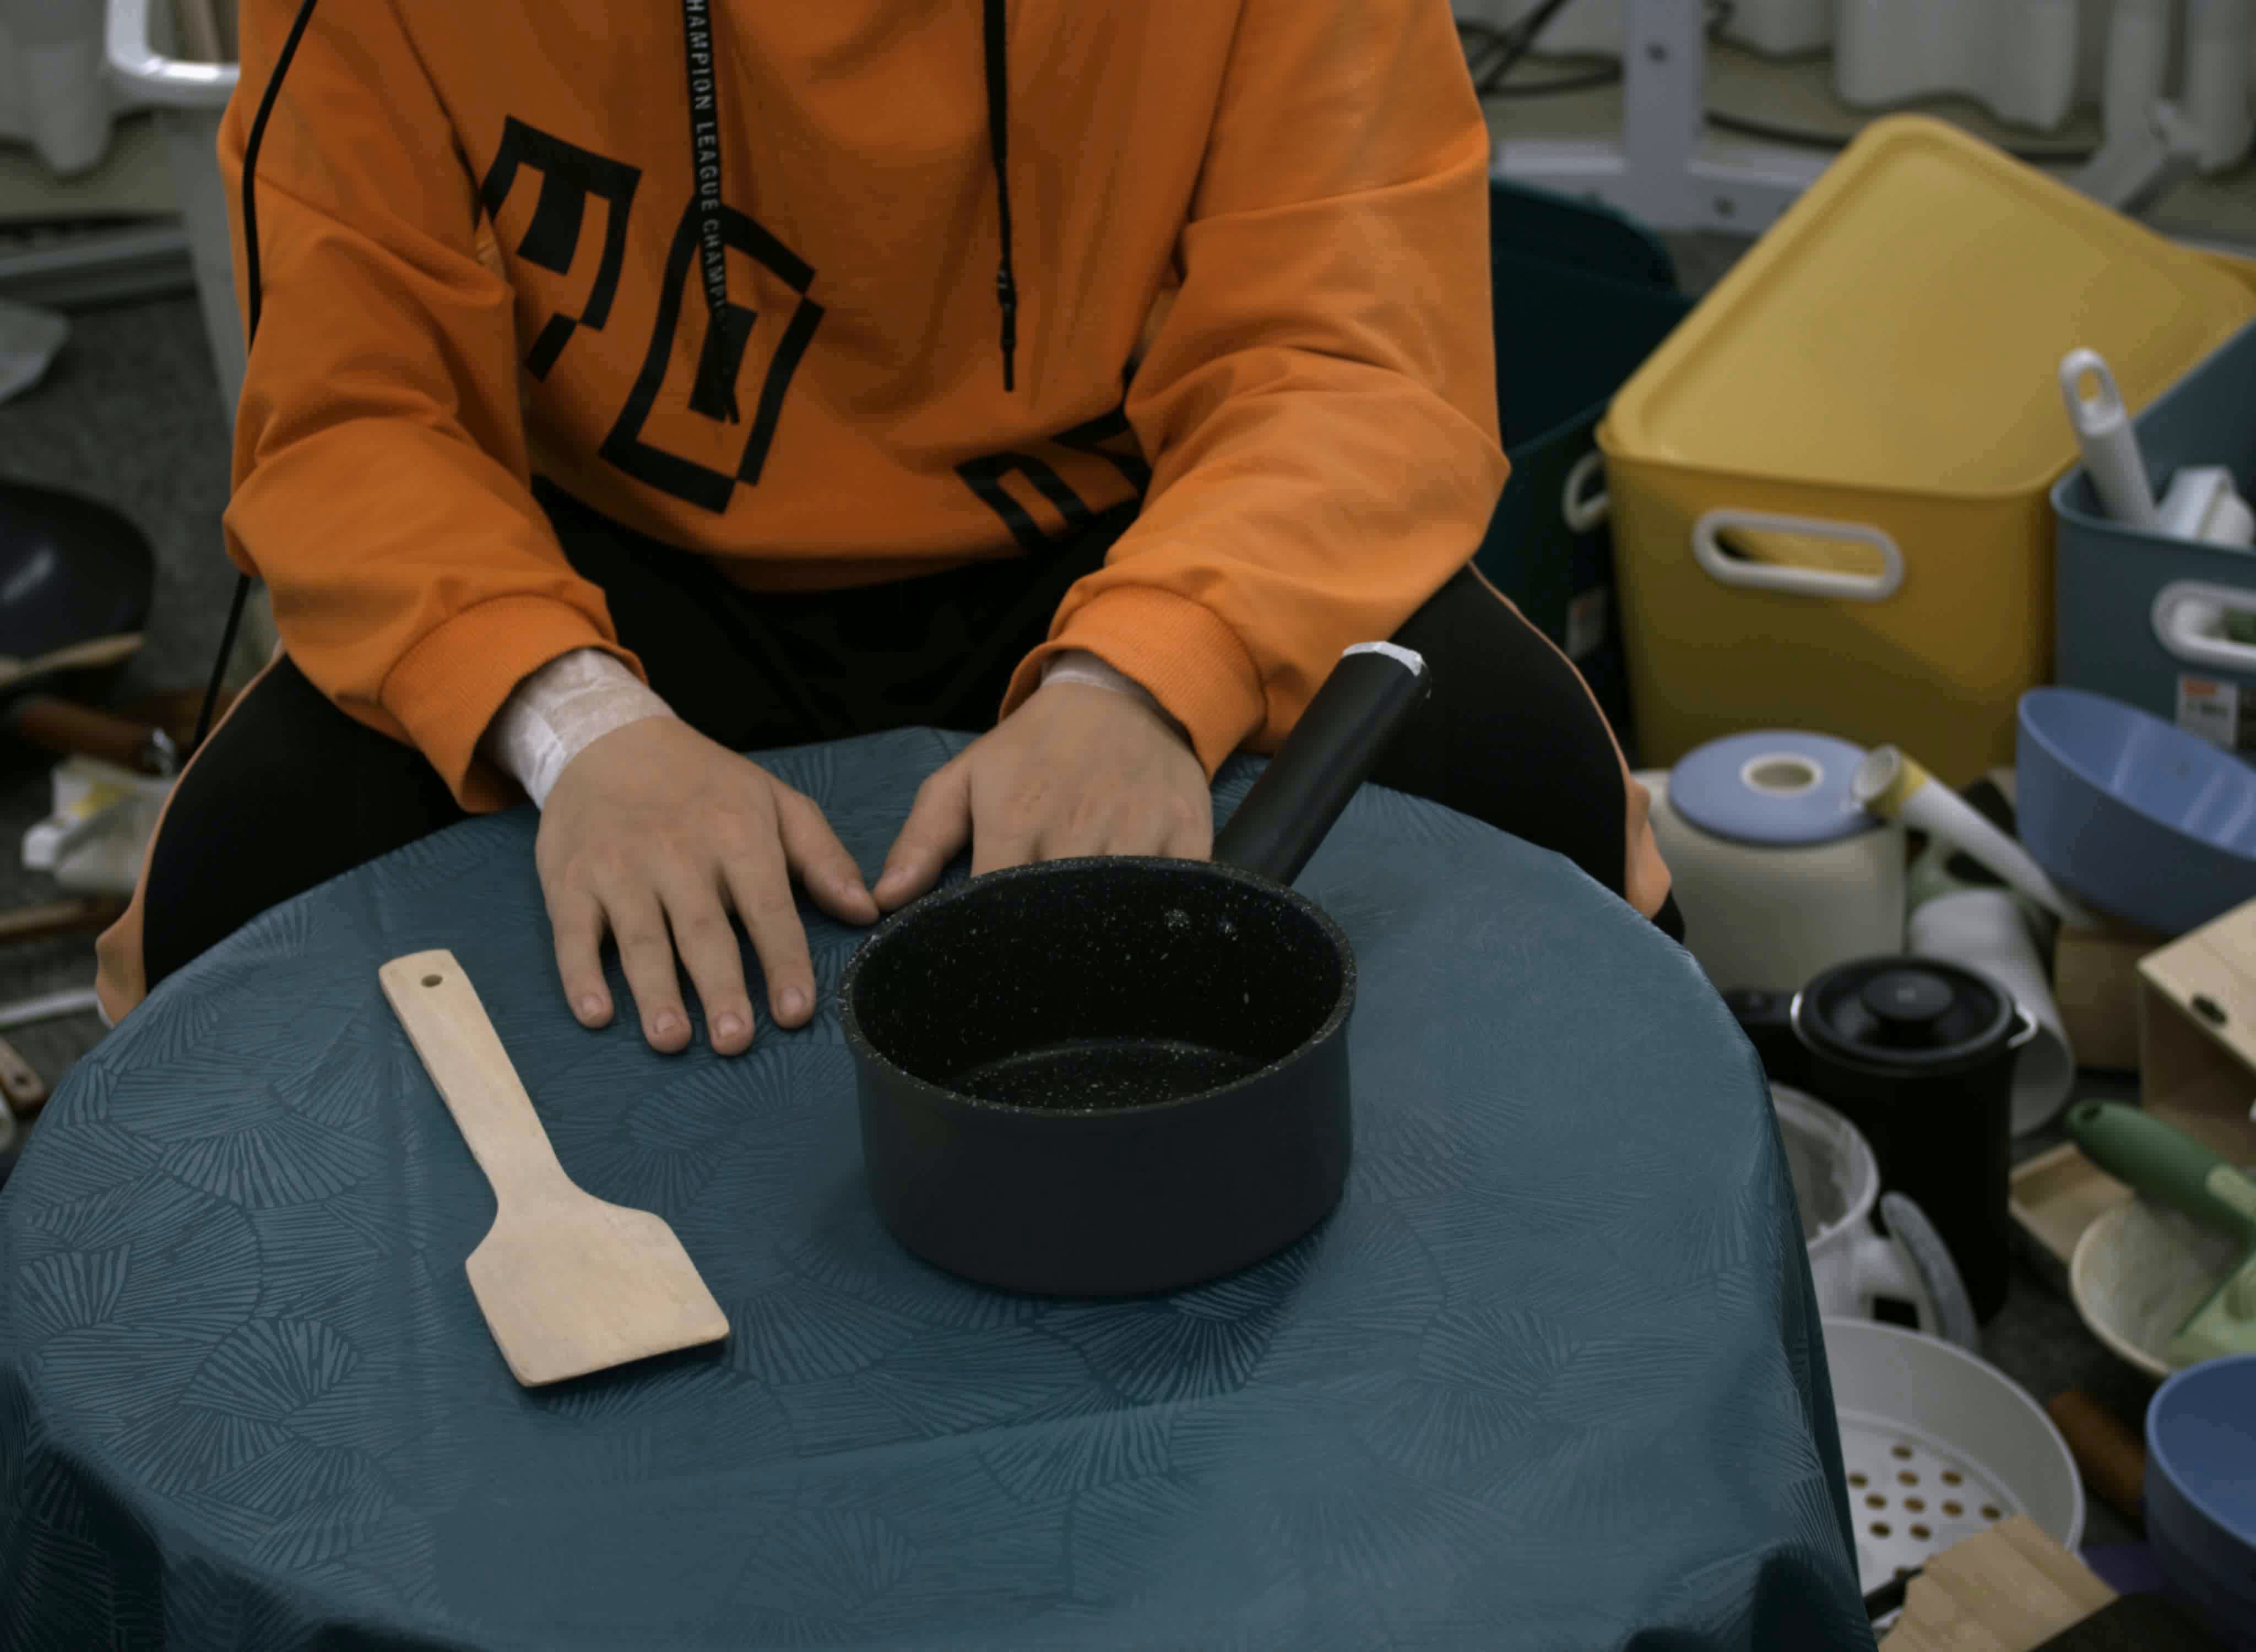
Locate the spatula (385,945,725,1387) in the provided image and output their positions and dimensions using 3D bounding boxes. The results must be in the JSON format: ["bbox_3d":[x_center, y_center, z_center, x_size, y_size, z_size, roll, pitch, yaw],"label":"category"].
[{"bbox_3d":[-0.208,0.110,1.896,0.072,0.010,0.295,-15,29,-14],"label":"spatula"}]

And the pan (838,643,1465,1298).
[{"bbox_3d":[0.029,0.045,1.917,0.171,0.085,0.334,12,33,26],"label":"pan"}]
